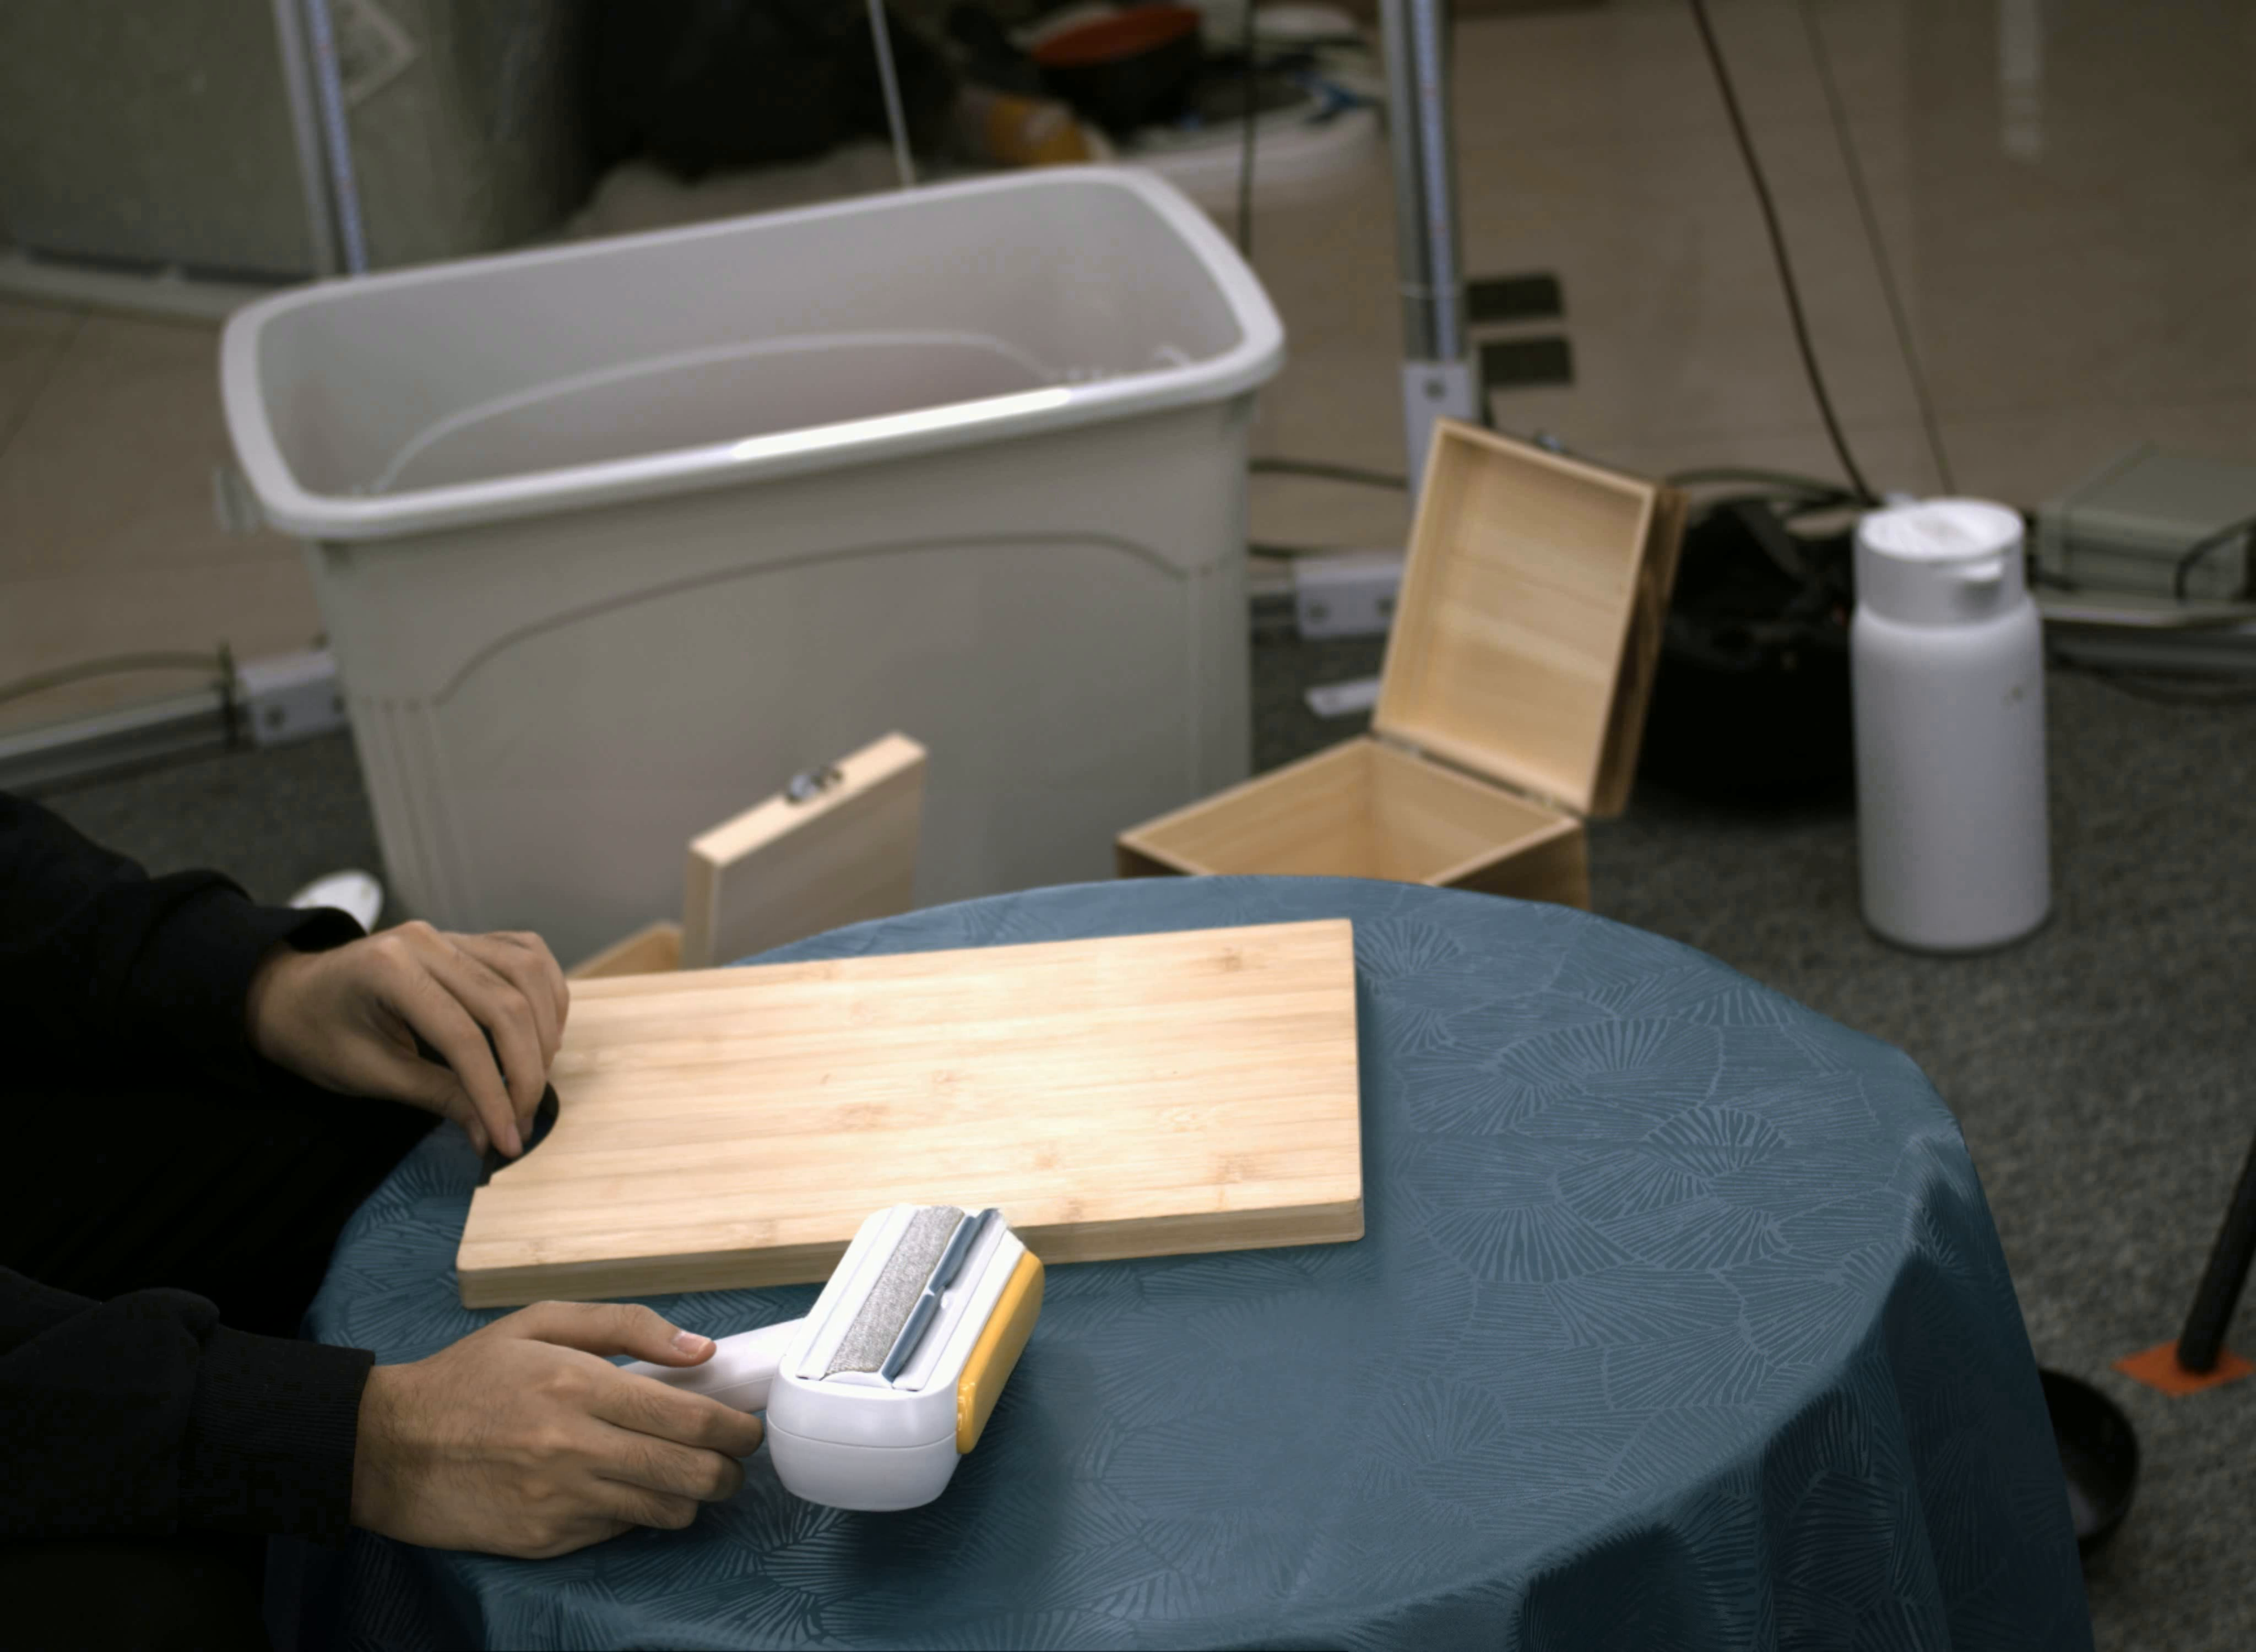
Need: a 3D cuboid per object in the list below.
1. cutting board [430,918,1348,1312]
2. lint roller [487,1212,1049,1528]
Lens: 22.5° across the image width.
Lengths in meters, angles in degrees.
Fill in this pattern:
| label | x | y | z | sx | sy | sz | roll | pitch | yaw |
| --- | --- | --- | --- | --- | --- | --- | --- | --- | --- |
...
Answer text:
| label | x | y | z | sx | sy | sz | roll | pitch | yaw |
| --- | --- | --- | --- | --- | --- | --- | --- | --- | --- |
| cutting board | -0.085 | 0.110 | 2.208 | 0.348 | 0.024 | 0.247 | -5 | 25 | 3 |
| lint roller | -0.135 | 0.193 | 1.981 | 0.192 | 0.075 | 0.190 | -2 | 20 | 14 |
